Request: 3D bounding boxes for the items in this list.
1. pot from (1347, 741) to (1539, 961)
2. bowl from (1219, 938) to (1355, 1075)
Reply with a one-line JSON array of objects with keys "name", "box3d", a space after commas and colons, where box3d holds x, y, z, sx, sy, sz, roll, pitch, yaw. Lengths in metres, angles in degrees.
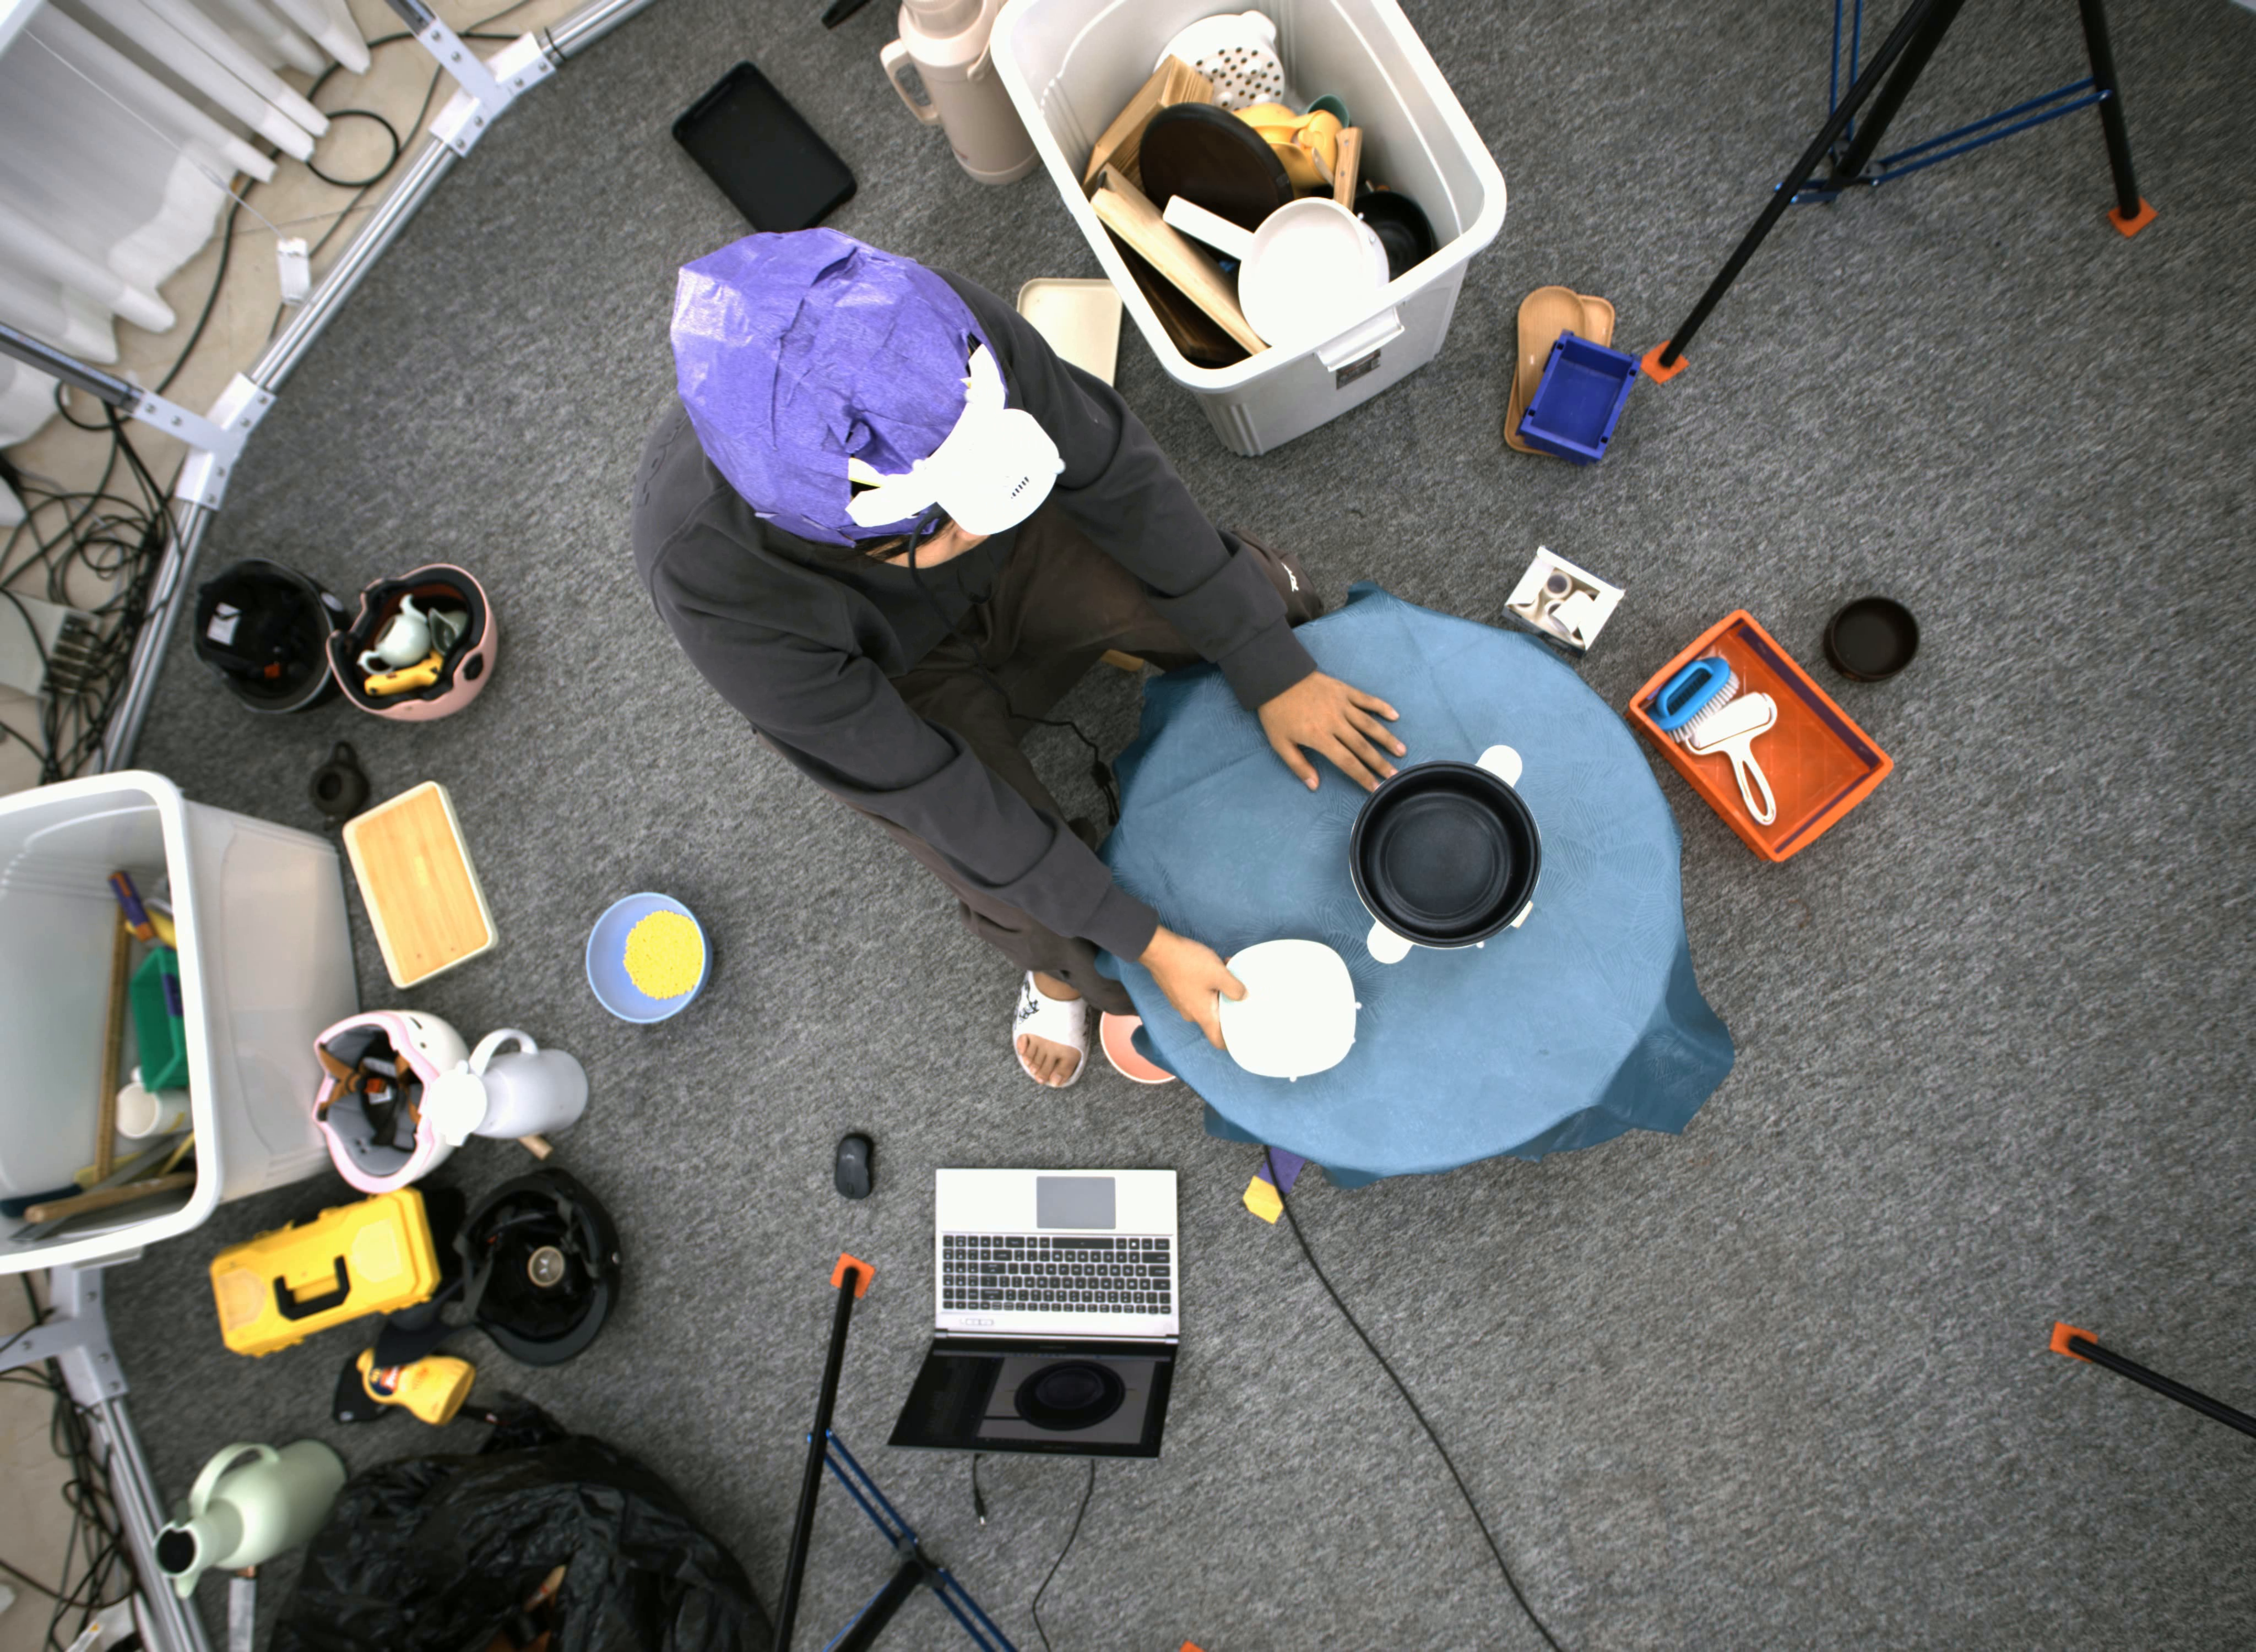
[{"name": "pot", "box3d": [0.319, 0.031, 1.382, 0.190, 0.142, 0.241, 31, 94, 15]}, {"name": "bowl", "box3d": [0.166, 0.187, 1.446, 0.152, 0.059, 0.151, -1, 86, 9]}]
